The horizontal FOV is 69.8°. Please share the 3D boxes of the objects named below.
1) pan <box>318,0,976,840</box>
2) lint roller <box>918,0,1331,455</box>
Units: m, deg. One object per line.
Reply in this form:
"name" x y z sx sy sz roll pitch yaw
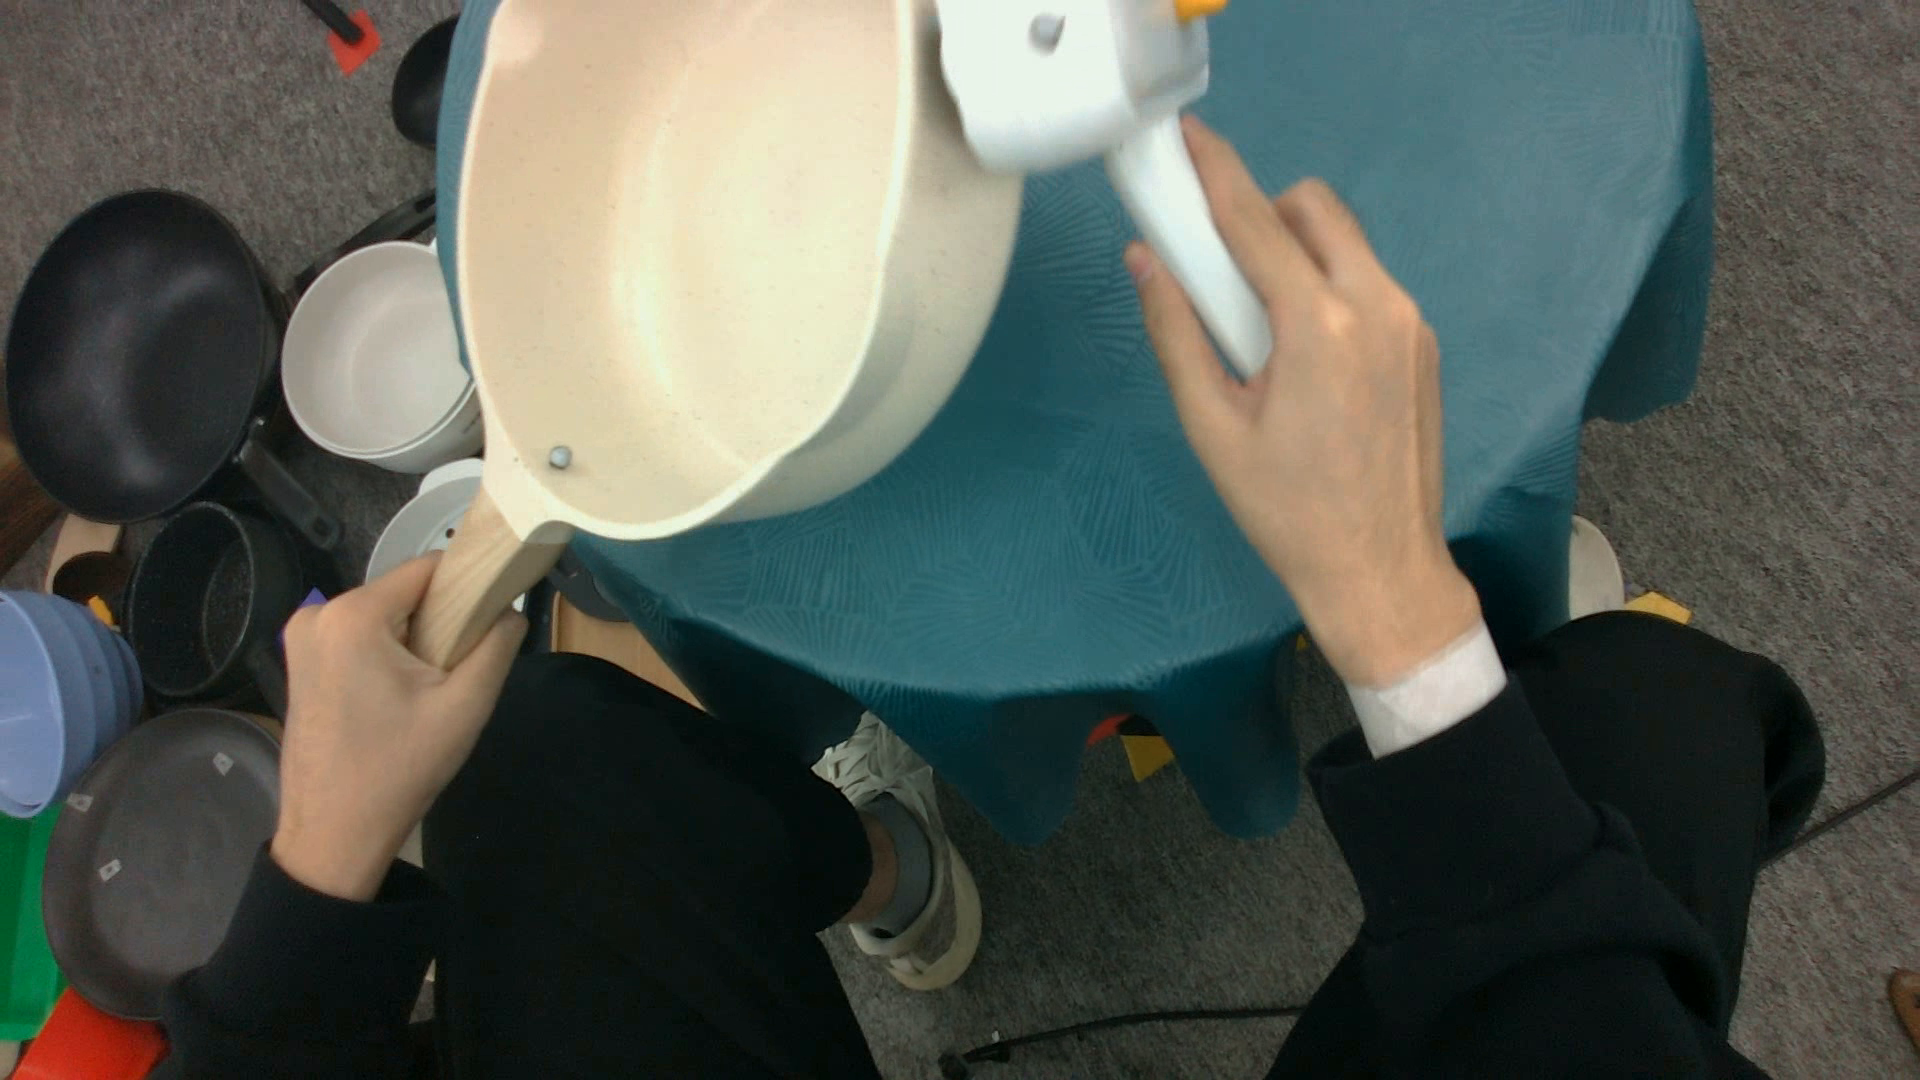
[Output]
"pan" -0.141 -0.059 0.534 0.263 0.102 0.433 42 116 30
"lint roller" 0.065 -0.109 0.460 0.074 0.193 0.192 -20 108 19
